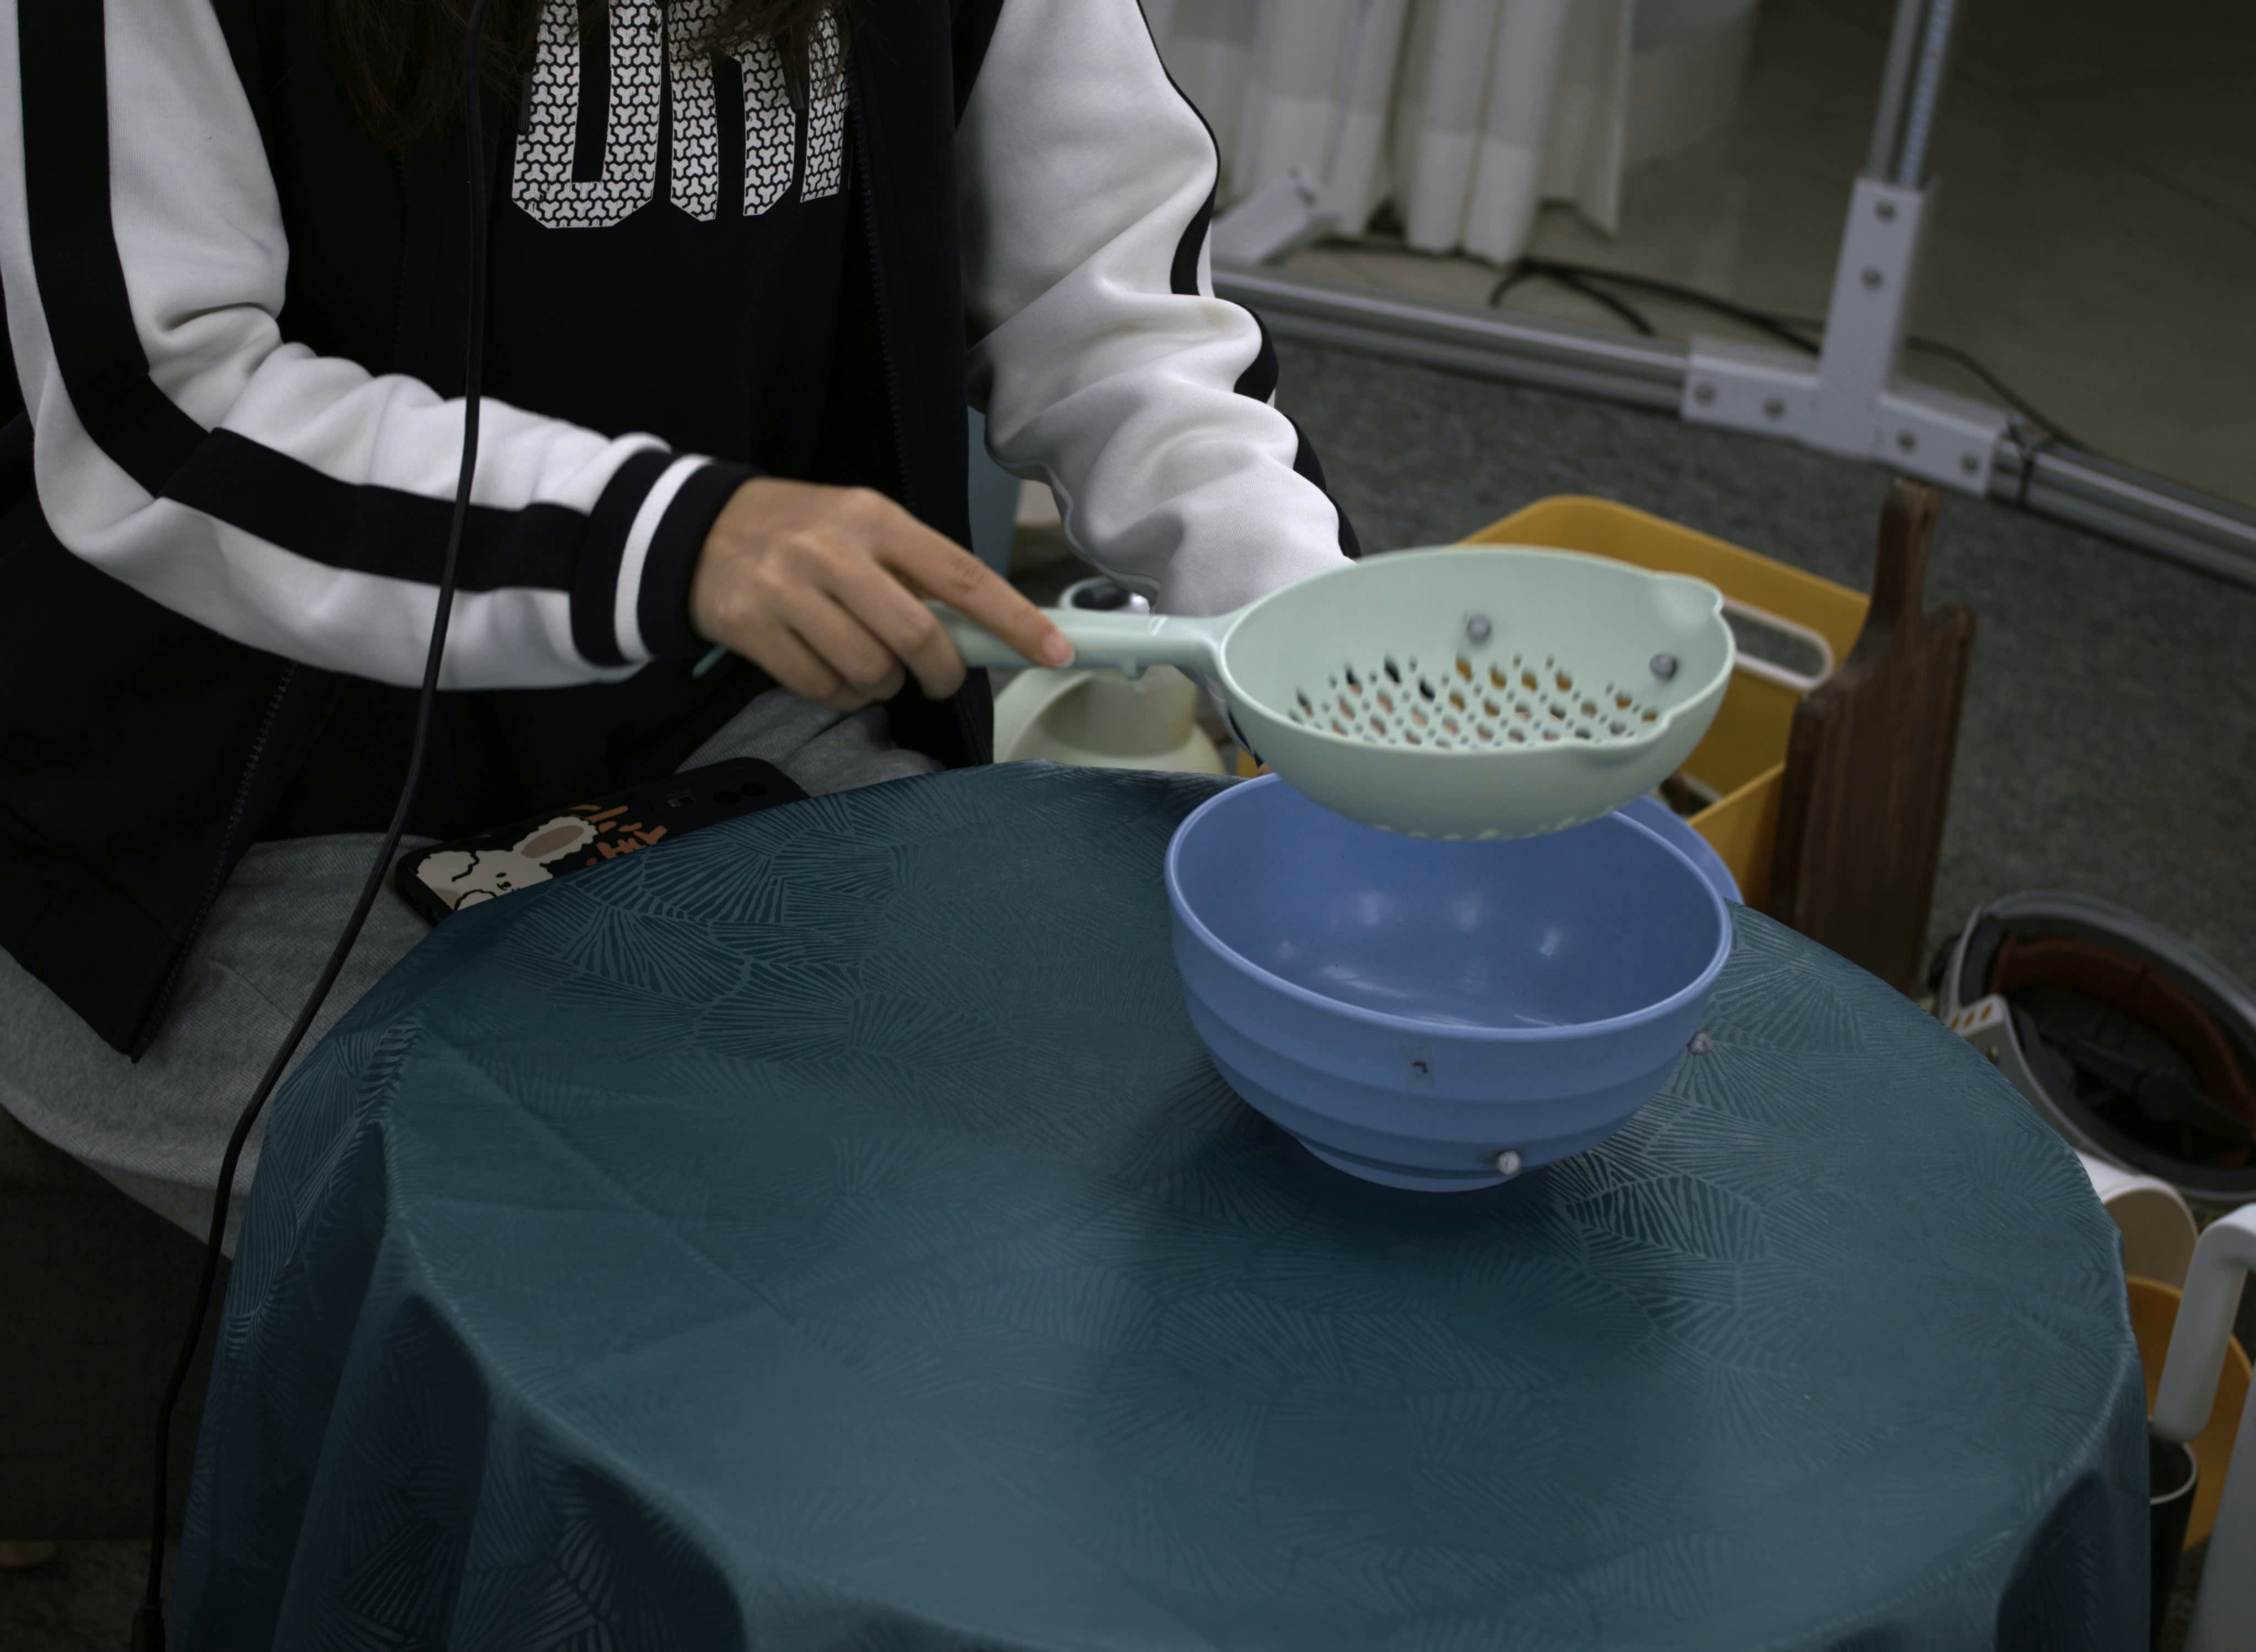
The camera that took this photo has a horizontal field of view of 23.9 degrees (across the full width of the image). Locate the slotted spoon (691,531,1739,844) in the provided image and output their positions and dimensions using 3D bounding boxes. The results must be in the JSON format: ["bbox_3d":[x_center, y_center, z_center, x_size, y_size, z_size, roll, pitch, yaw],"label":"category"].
[{"bbox_3d":[0.023,-0.057,1.784,0.359,0.075,0.170,12,30,12],"label":"slotted spoon"}]

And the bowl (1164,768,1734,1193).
[{"bbox_3d":[0.105,0.063,1.839,0.196,0.095,0.198,5,27,-3],"label":"bowl"}]
